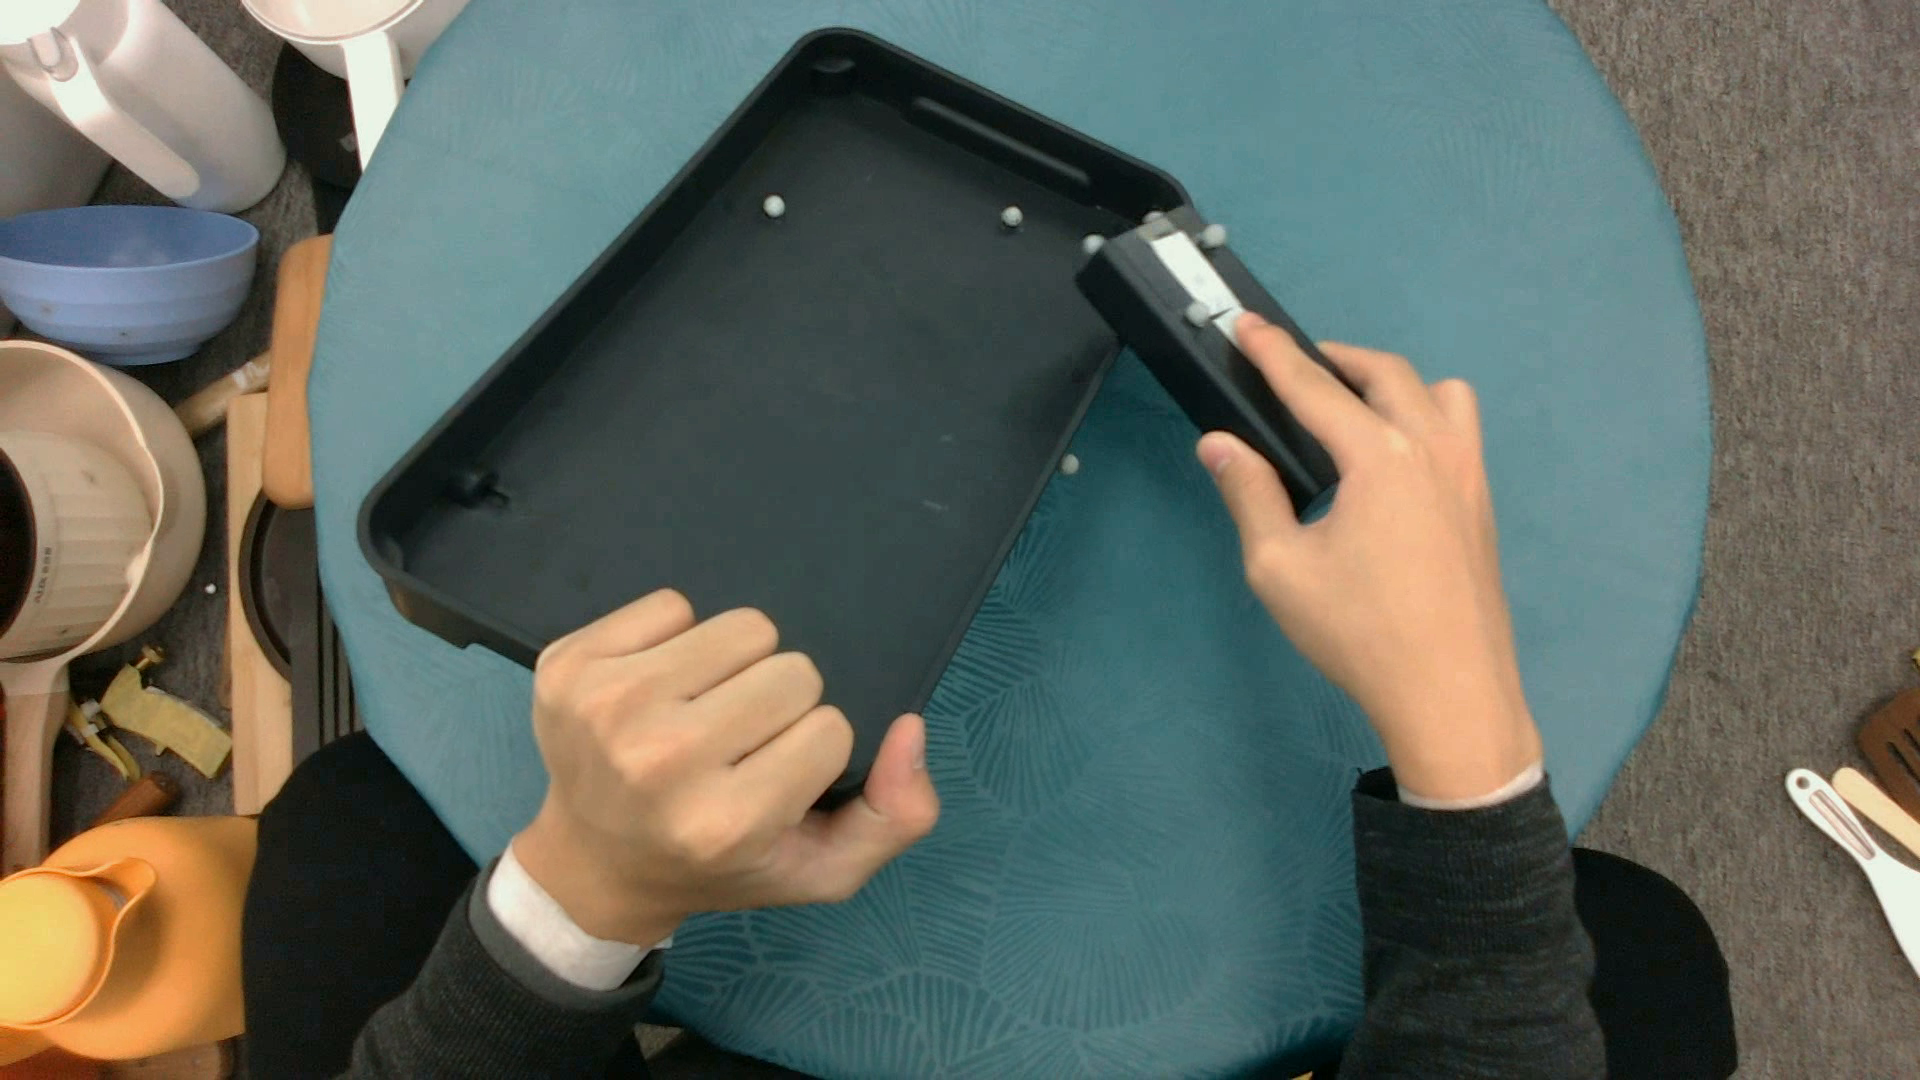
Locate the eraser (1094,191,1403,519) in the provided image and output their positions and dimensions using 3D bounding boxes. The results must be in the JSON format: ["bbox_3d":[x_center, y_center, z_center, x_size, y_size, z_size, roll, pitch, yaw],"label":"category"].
[{"bbox_3d":[0.107,-0.071,0.519,0.054,0.030,0.125,-29,75,-27],"label":"eraser"}]

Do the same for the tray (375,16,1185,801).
[{"bbox_3d":[-0.046,-0.071,0.514,0.184,0.037,0.319,25,56,5],"label":"tray"}]
